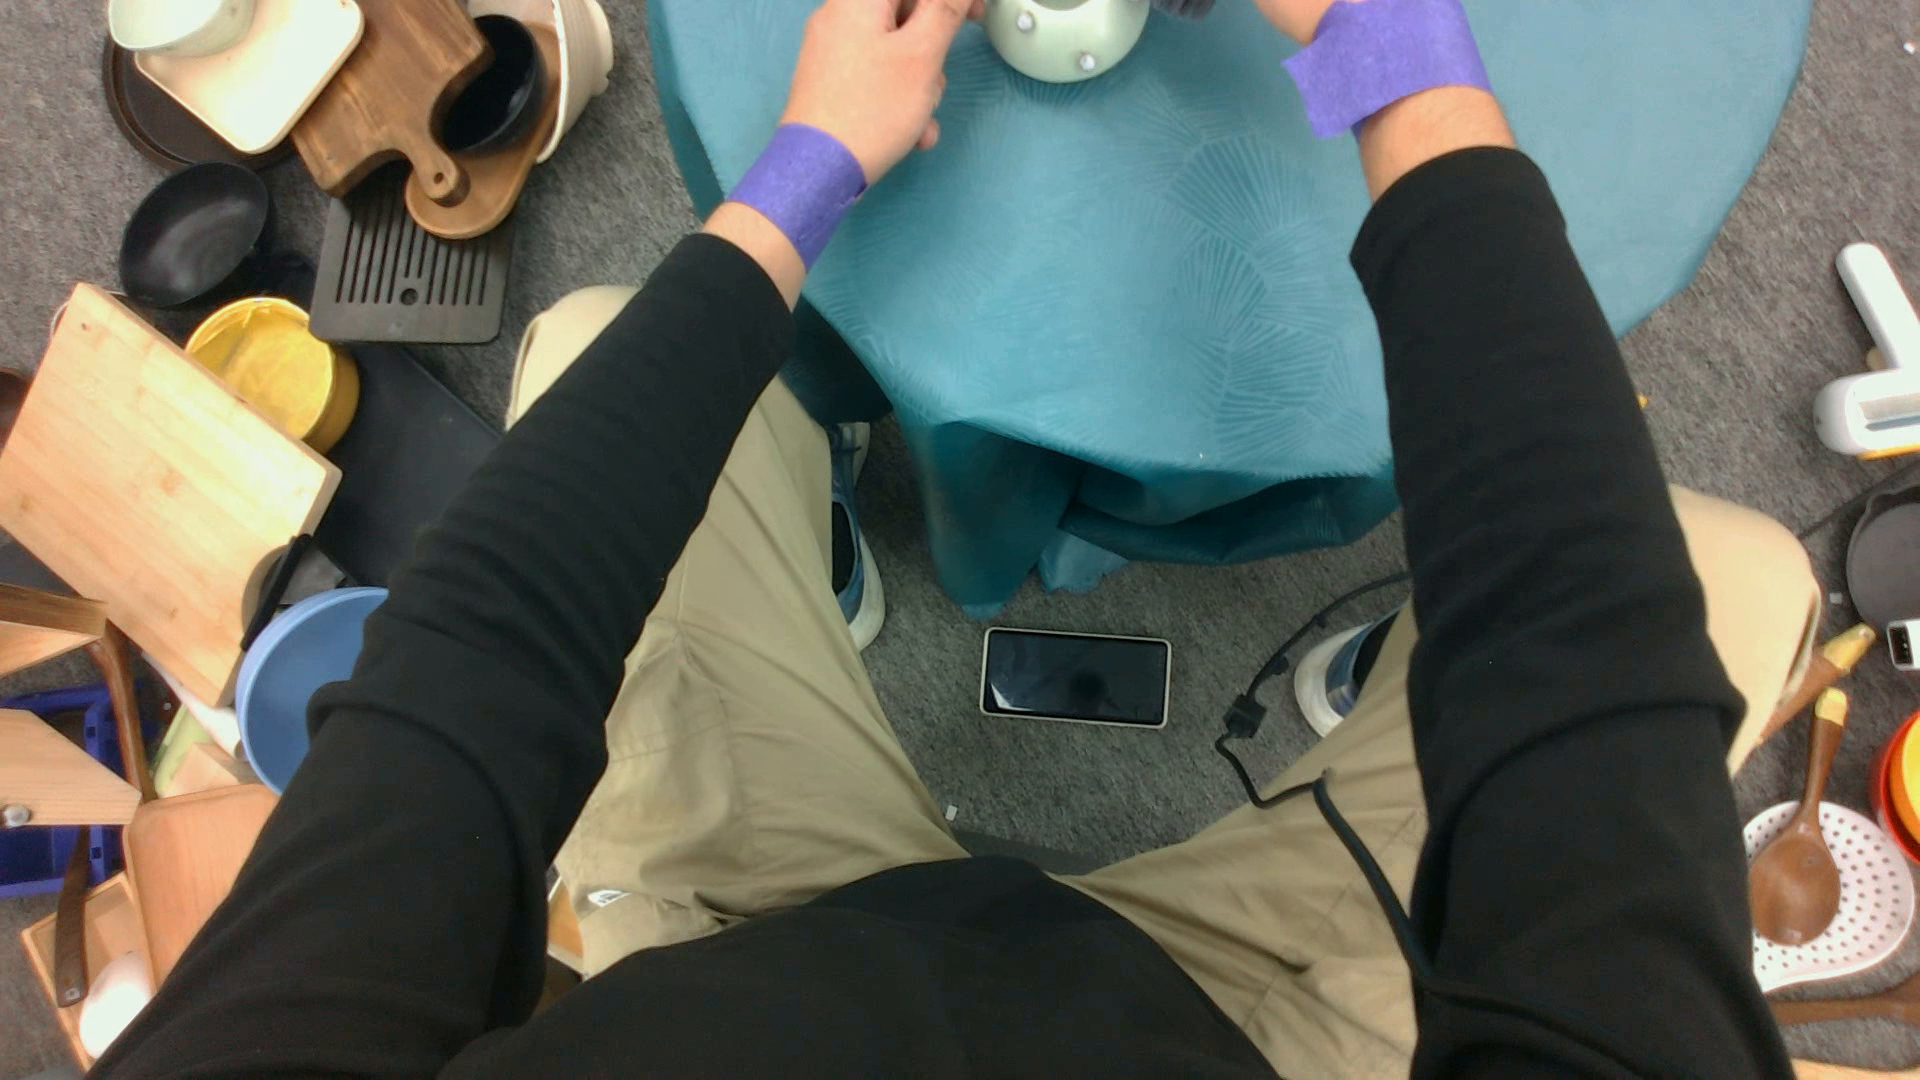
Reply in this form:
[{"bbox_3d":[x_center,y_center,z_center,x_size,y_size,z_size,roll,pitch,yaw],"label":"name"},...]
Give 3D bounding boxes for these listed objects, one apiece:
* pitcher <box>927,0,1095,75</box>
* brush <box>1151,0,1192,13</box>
[{"bbox_3d":[0.016,-0.279,0.685,0.108,0.060,0.086,4,96,-13],"label":"pitcher"},{"bbox_3d":[0.106,-0.308,0.639,0.050,0.072,0.099,2,68,-34],"label":"brush"}]
